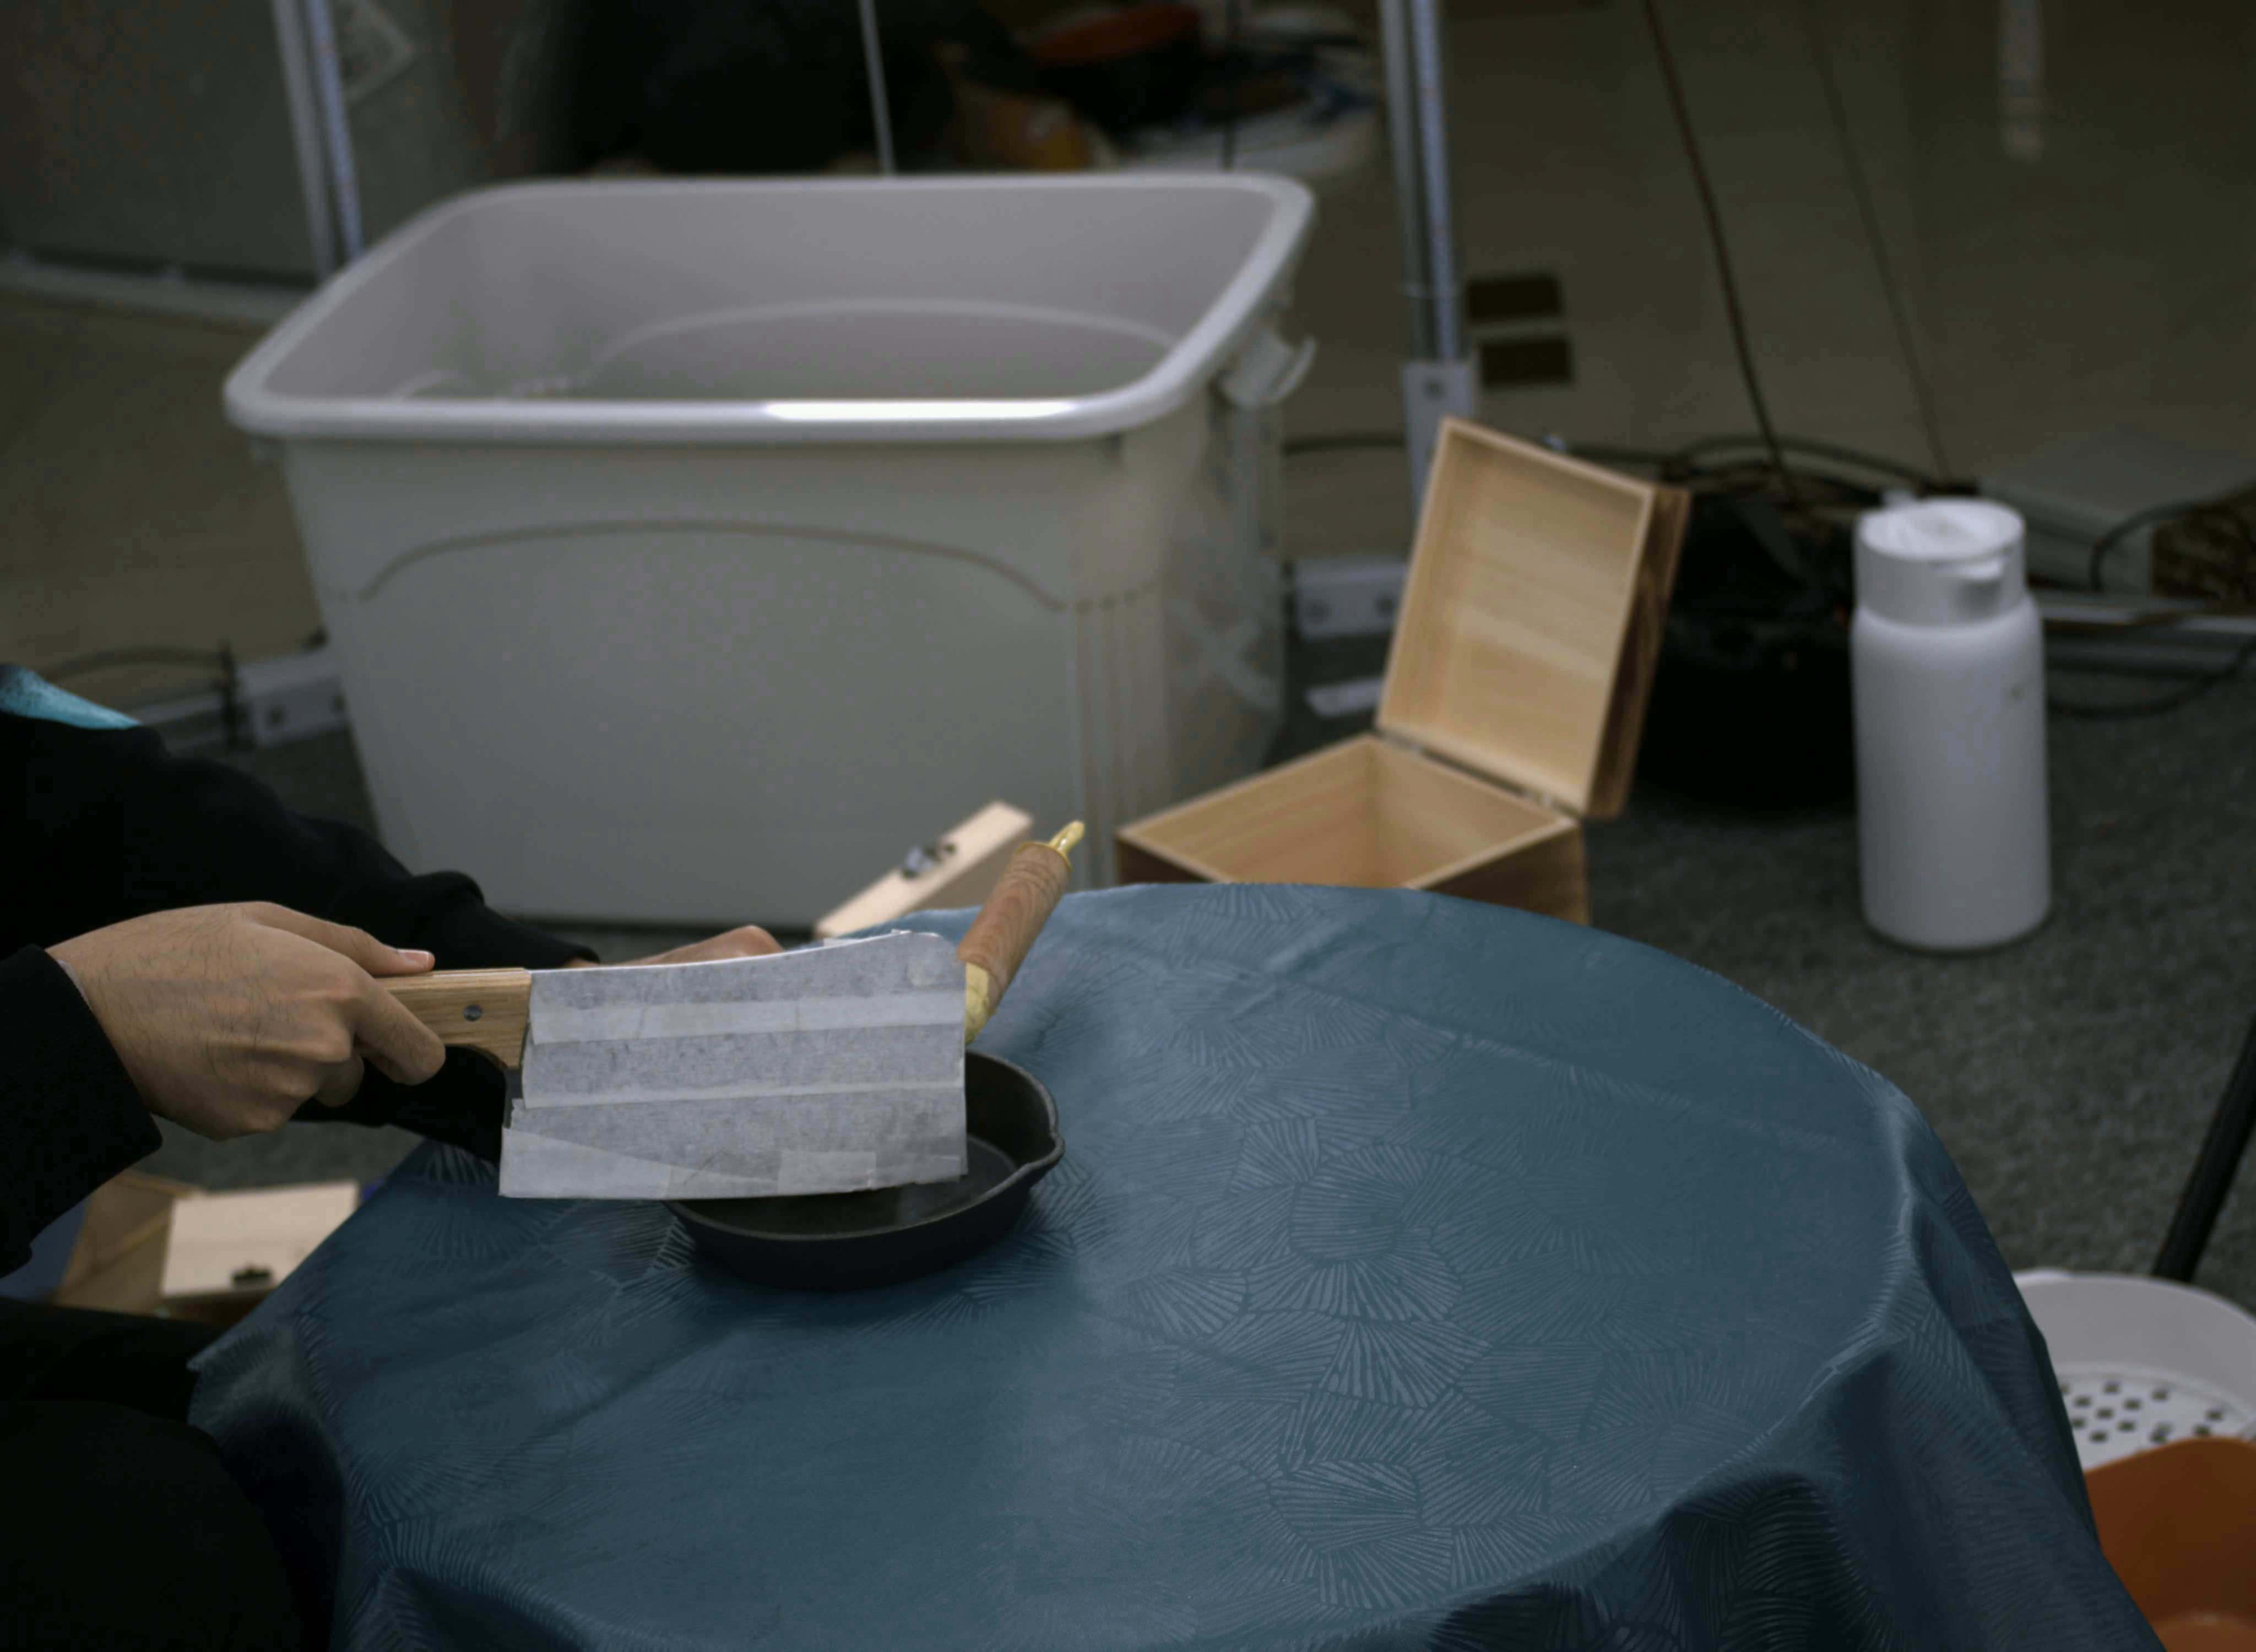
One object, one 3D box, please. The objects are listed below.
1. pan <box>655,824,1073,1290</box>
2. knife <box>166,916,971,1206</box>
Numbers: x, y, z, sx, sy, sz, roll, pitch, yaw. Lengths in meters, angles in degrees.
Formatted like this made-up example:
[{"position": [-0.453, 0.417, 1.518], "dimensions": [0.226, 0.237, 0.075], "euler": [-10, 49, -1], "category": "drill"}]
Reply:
[{"position": [-0.077, 0.088, 2.214], "dimensions": [0.168, 0.050, 0.319], "euler": [3, 27, 20], "category": "pan"}, {"position": [-0.199, 0.085, 2.082], "dimensions": [0.315, 0.115, 0.021], "euler": [3, 12, -25], "category": "knife"}]
